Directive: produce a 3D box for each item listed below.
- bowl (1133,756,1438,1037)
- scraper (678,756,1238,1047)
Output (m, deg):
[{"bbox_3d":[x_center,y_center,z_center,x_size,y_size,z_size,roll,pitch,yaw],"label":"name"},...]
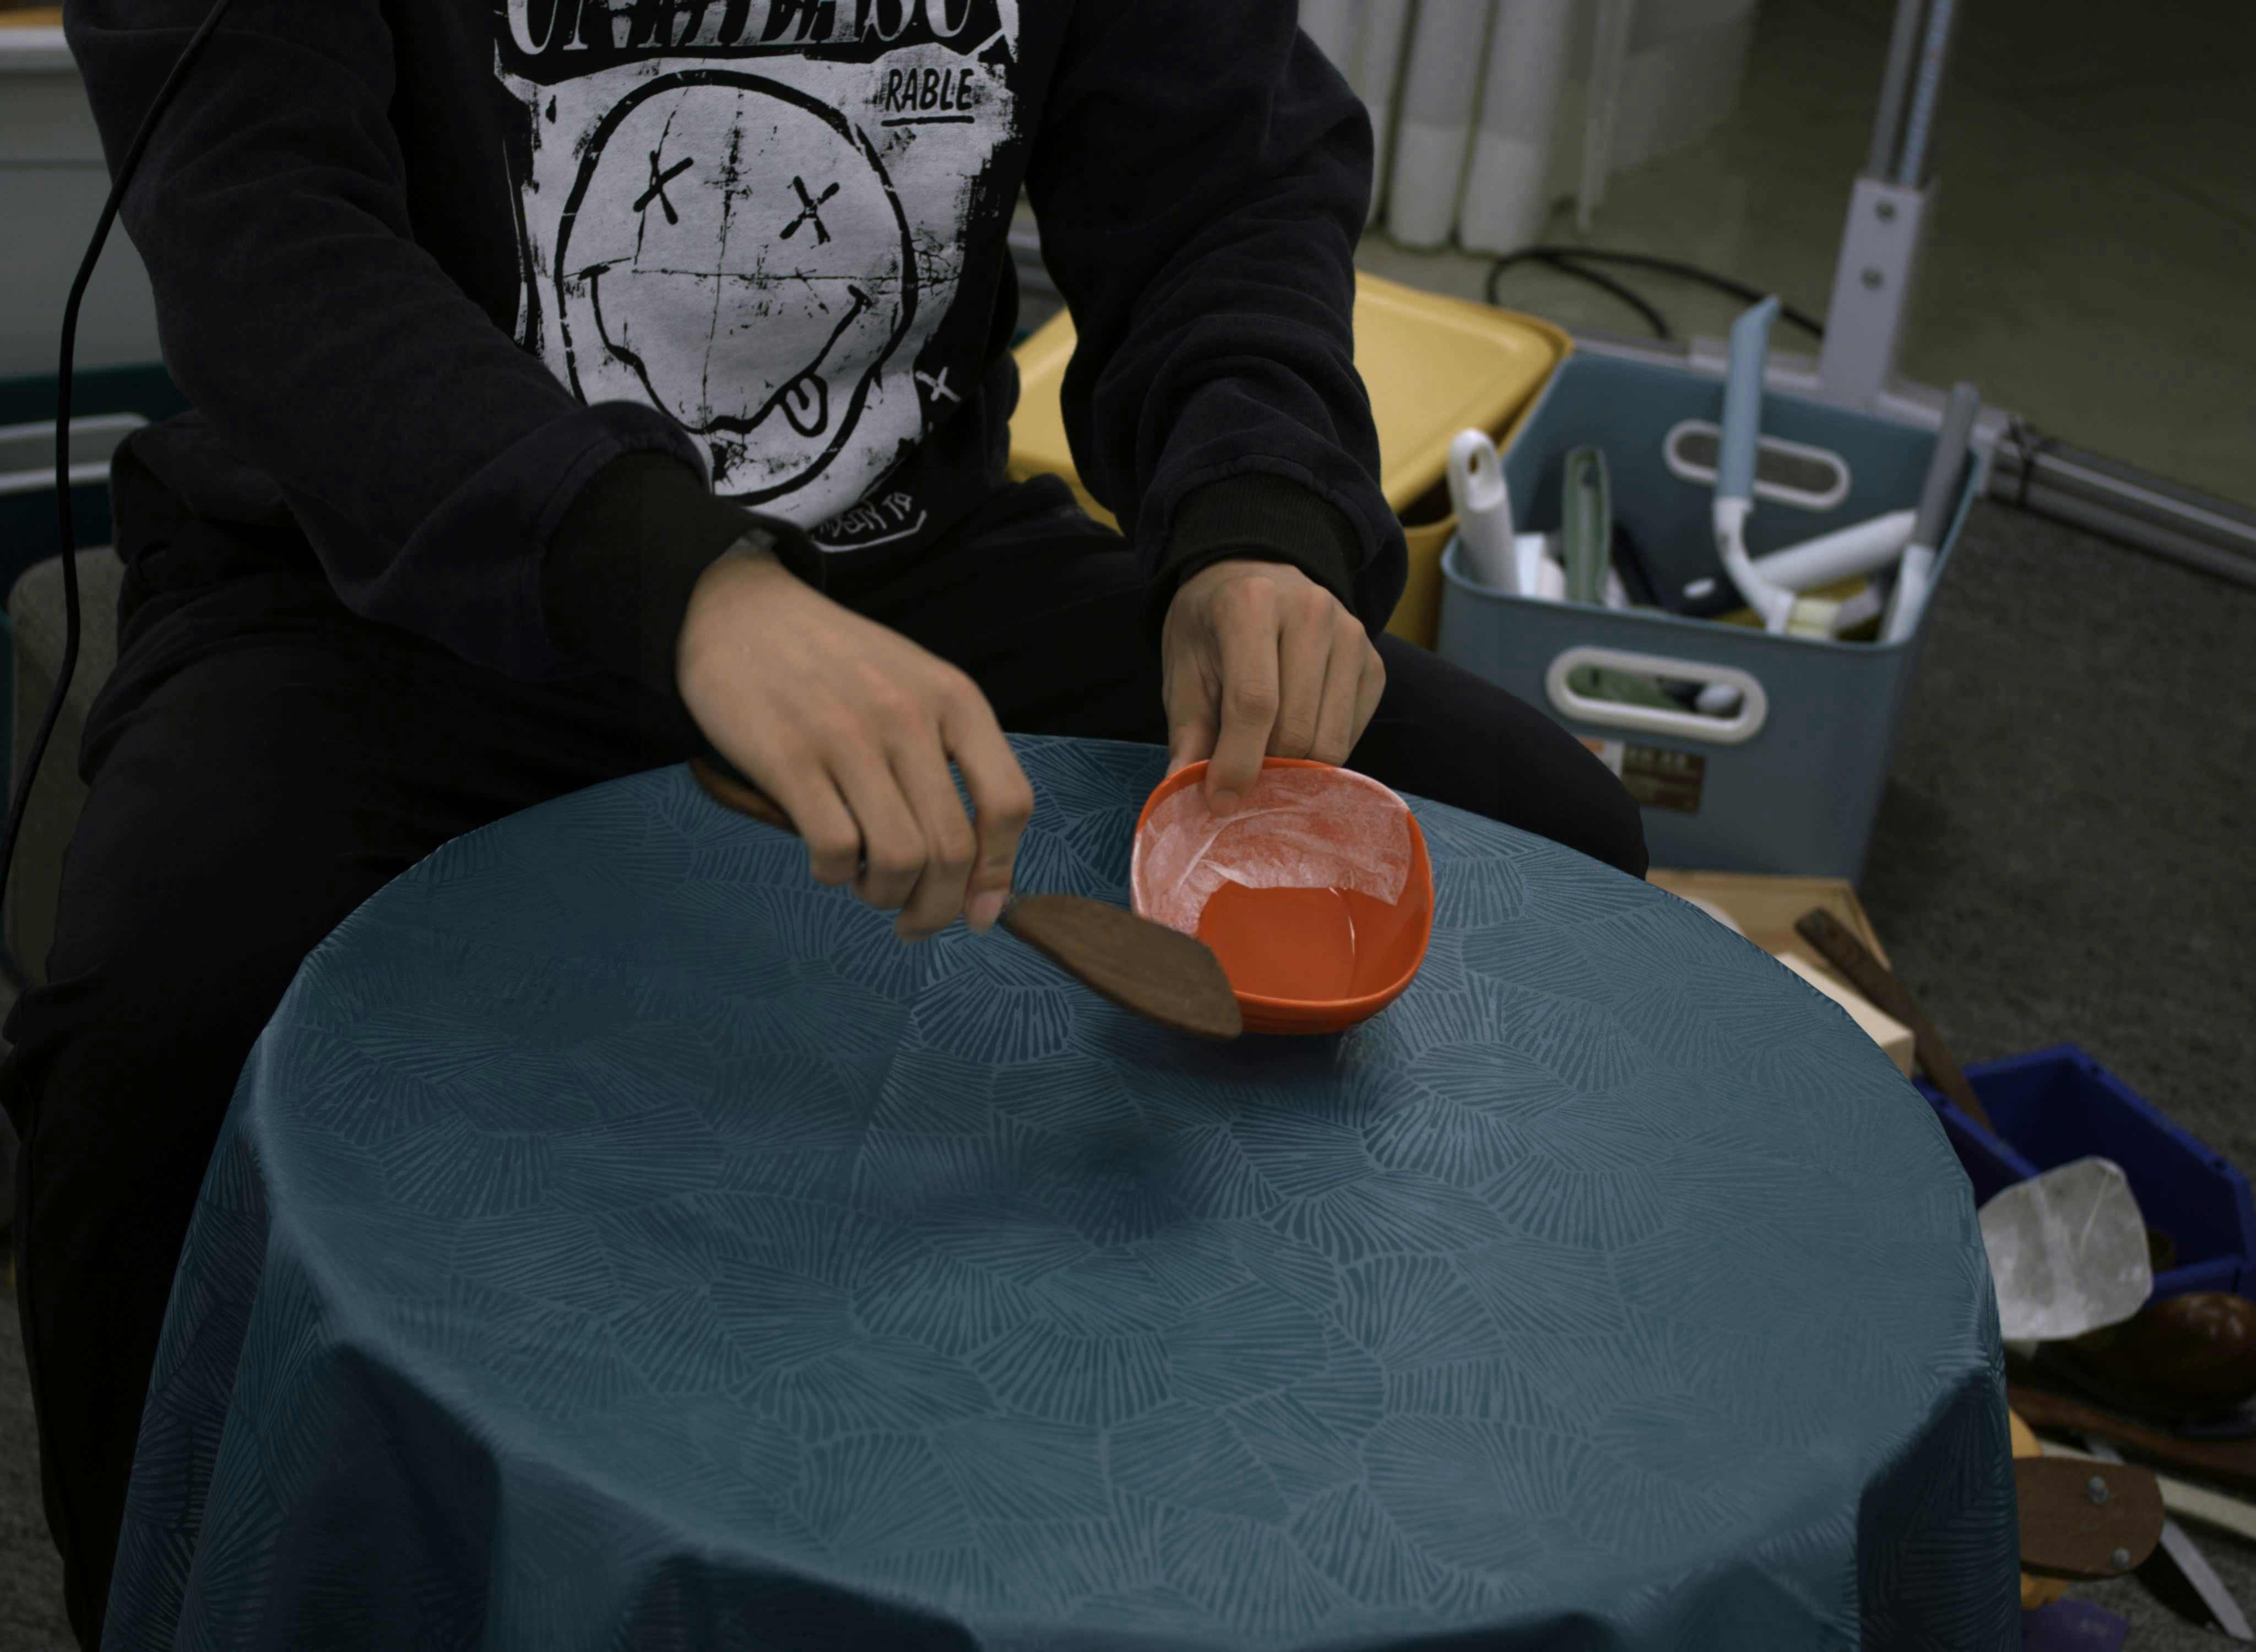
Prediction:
[{"bbox_3d":[0.053,0.033,1.909,0.118,0.051,0.120,5,53,-7],"label":"bowl"},{"bbox_3d":[-0.057,0.023,1.781,0.210,0.011,0.076,24,19,-20],"label":"scraper"}]
